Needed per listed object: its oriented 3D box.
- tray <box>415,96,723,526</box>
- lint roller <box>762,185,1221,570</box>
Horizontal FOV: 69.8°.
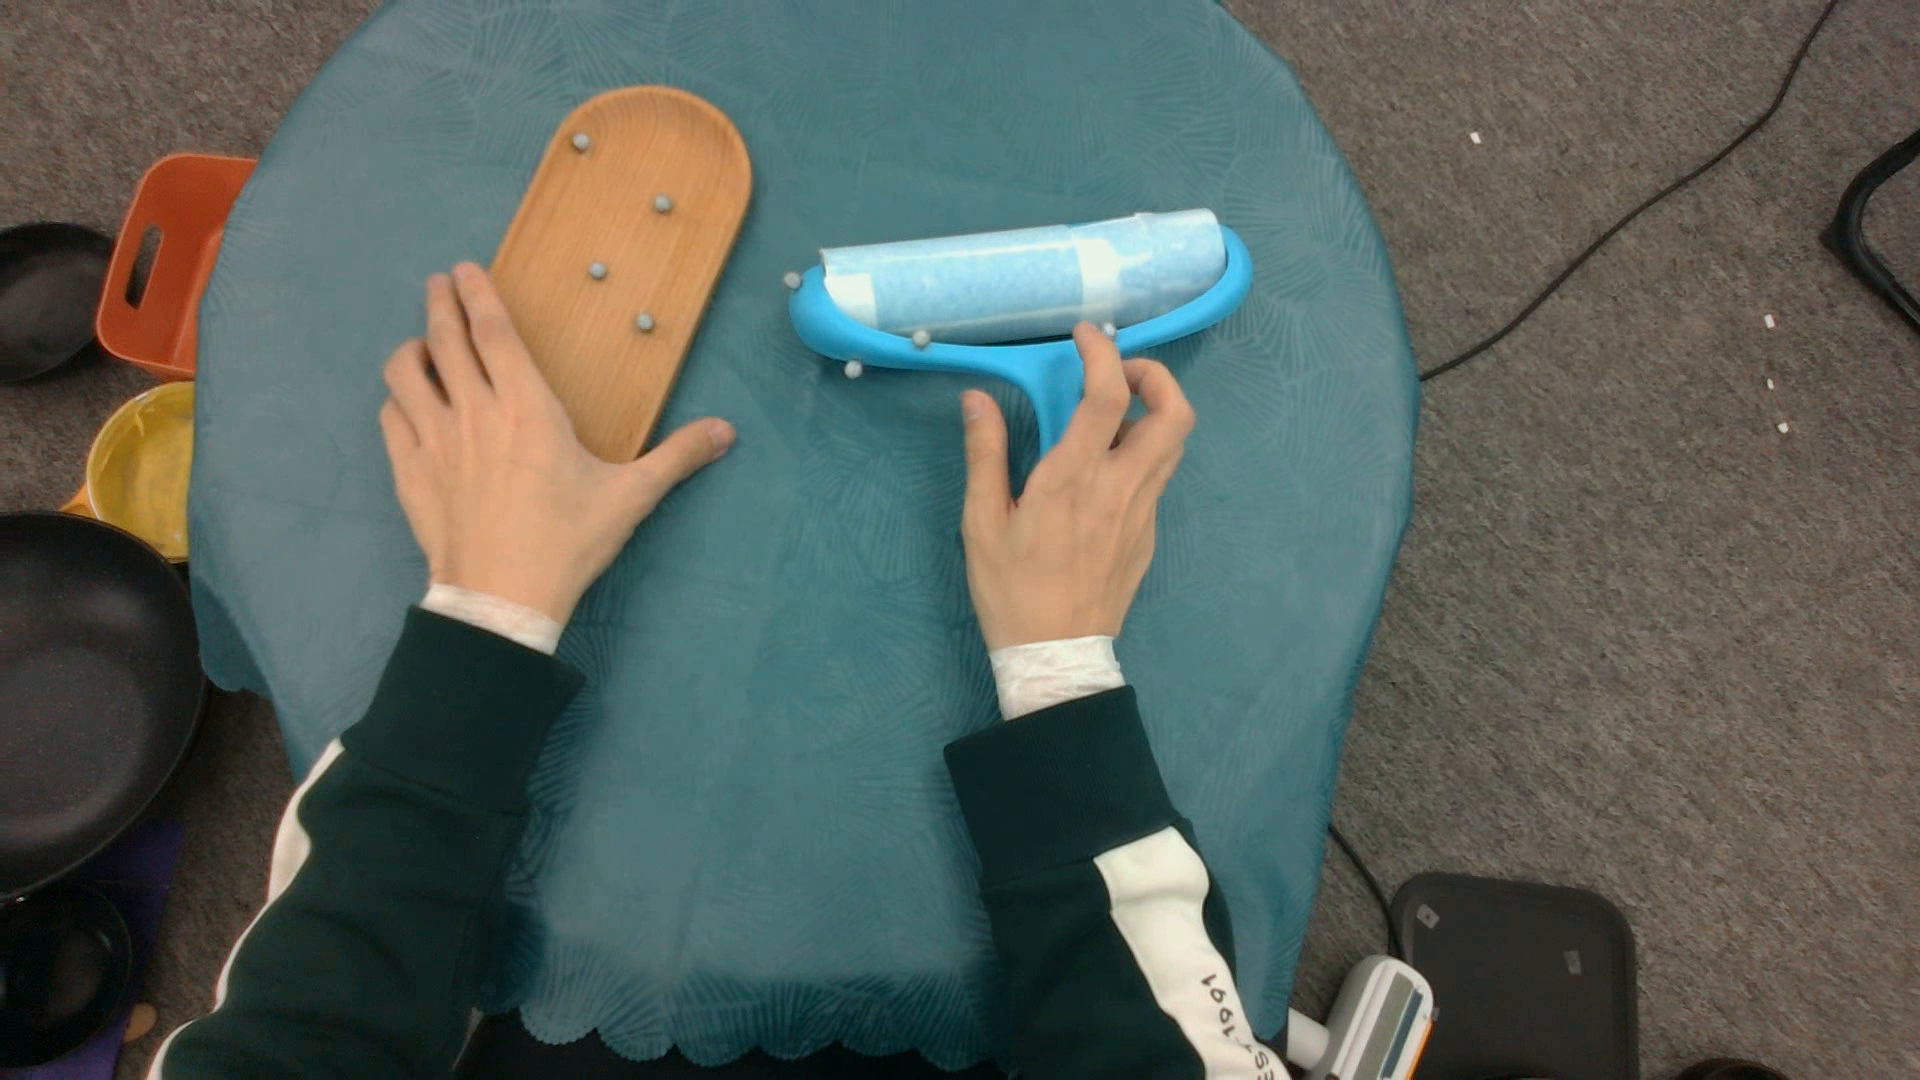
[{"bbox_3d":[-0.187,-0.115,0.672,0.101,0.020,0.232,16,74,0],"label":"tray"},{"bbox_3d":[0.031,-0.079,0.662,0.229,0.067,0.180,-12,74,-11],"label":"lint roller"}]
